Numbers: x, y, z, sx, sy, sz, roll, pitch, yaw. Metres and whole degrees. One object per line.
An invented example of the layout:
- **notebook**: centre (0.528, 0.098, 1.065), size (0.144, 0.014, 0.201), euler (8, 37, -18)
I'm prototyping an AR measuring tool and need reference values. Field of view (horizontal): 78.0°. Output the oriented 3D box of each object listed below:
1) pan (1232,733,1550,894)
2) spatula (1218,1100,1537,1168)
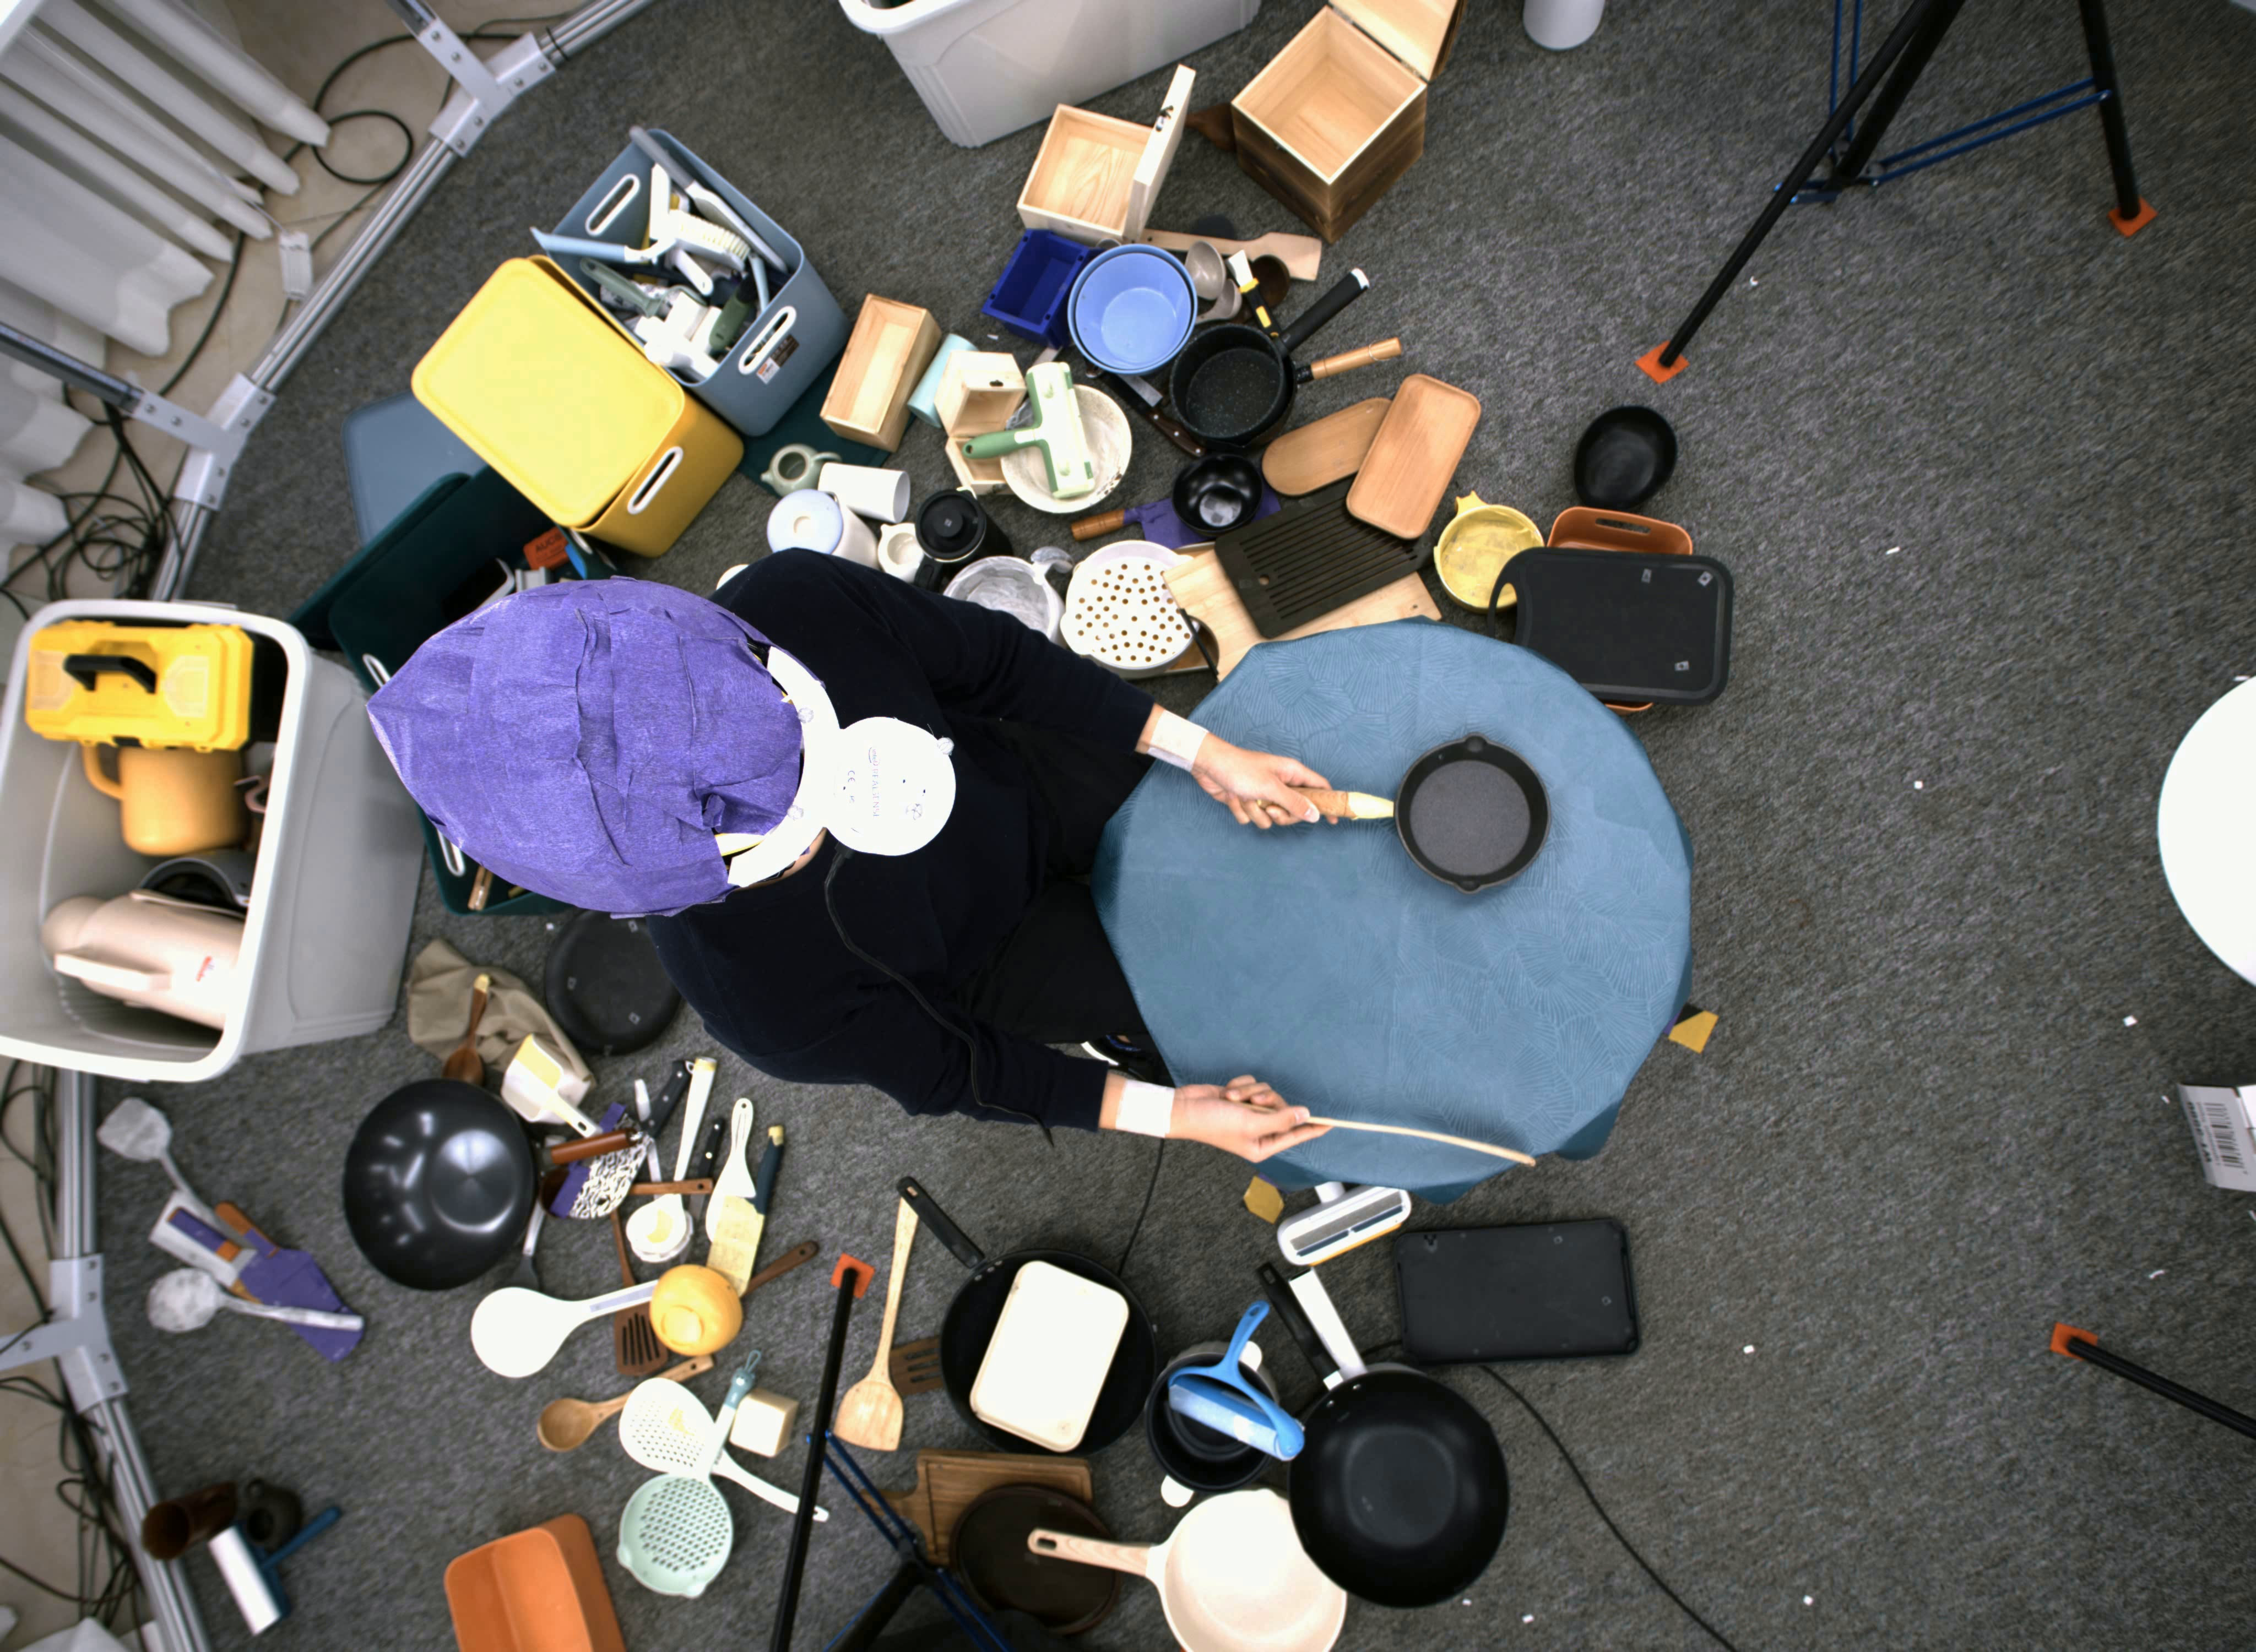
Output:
- **pan**: centre (0.270, -0.022, 1.424), size (0.325, 0.050, 0.167), euler (6, 83, 8)
- **spatula**: centre (0.252, 0.308, 1.392), size (0.328, 0.080, 0.016), euler (9, 81, 5)
